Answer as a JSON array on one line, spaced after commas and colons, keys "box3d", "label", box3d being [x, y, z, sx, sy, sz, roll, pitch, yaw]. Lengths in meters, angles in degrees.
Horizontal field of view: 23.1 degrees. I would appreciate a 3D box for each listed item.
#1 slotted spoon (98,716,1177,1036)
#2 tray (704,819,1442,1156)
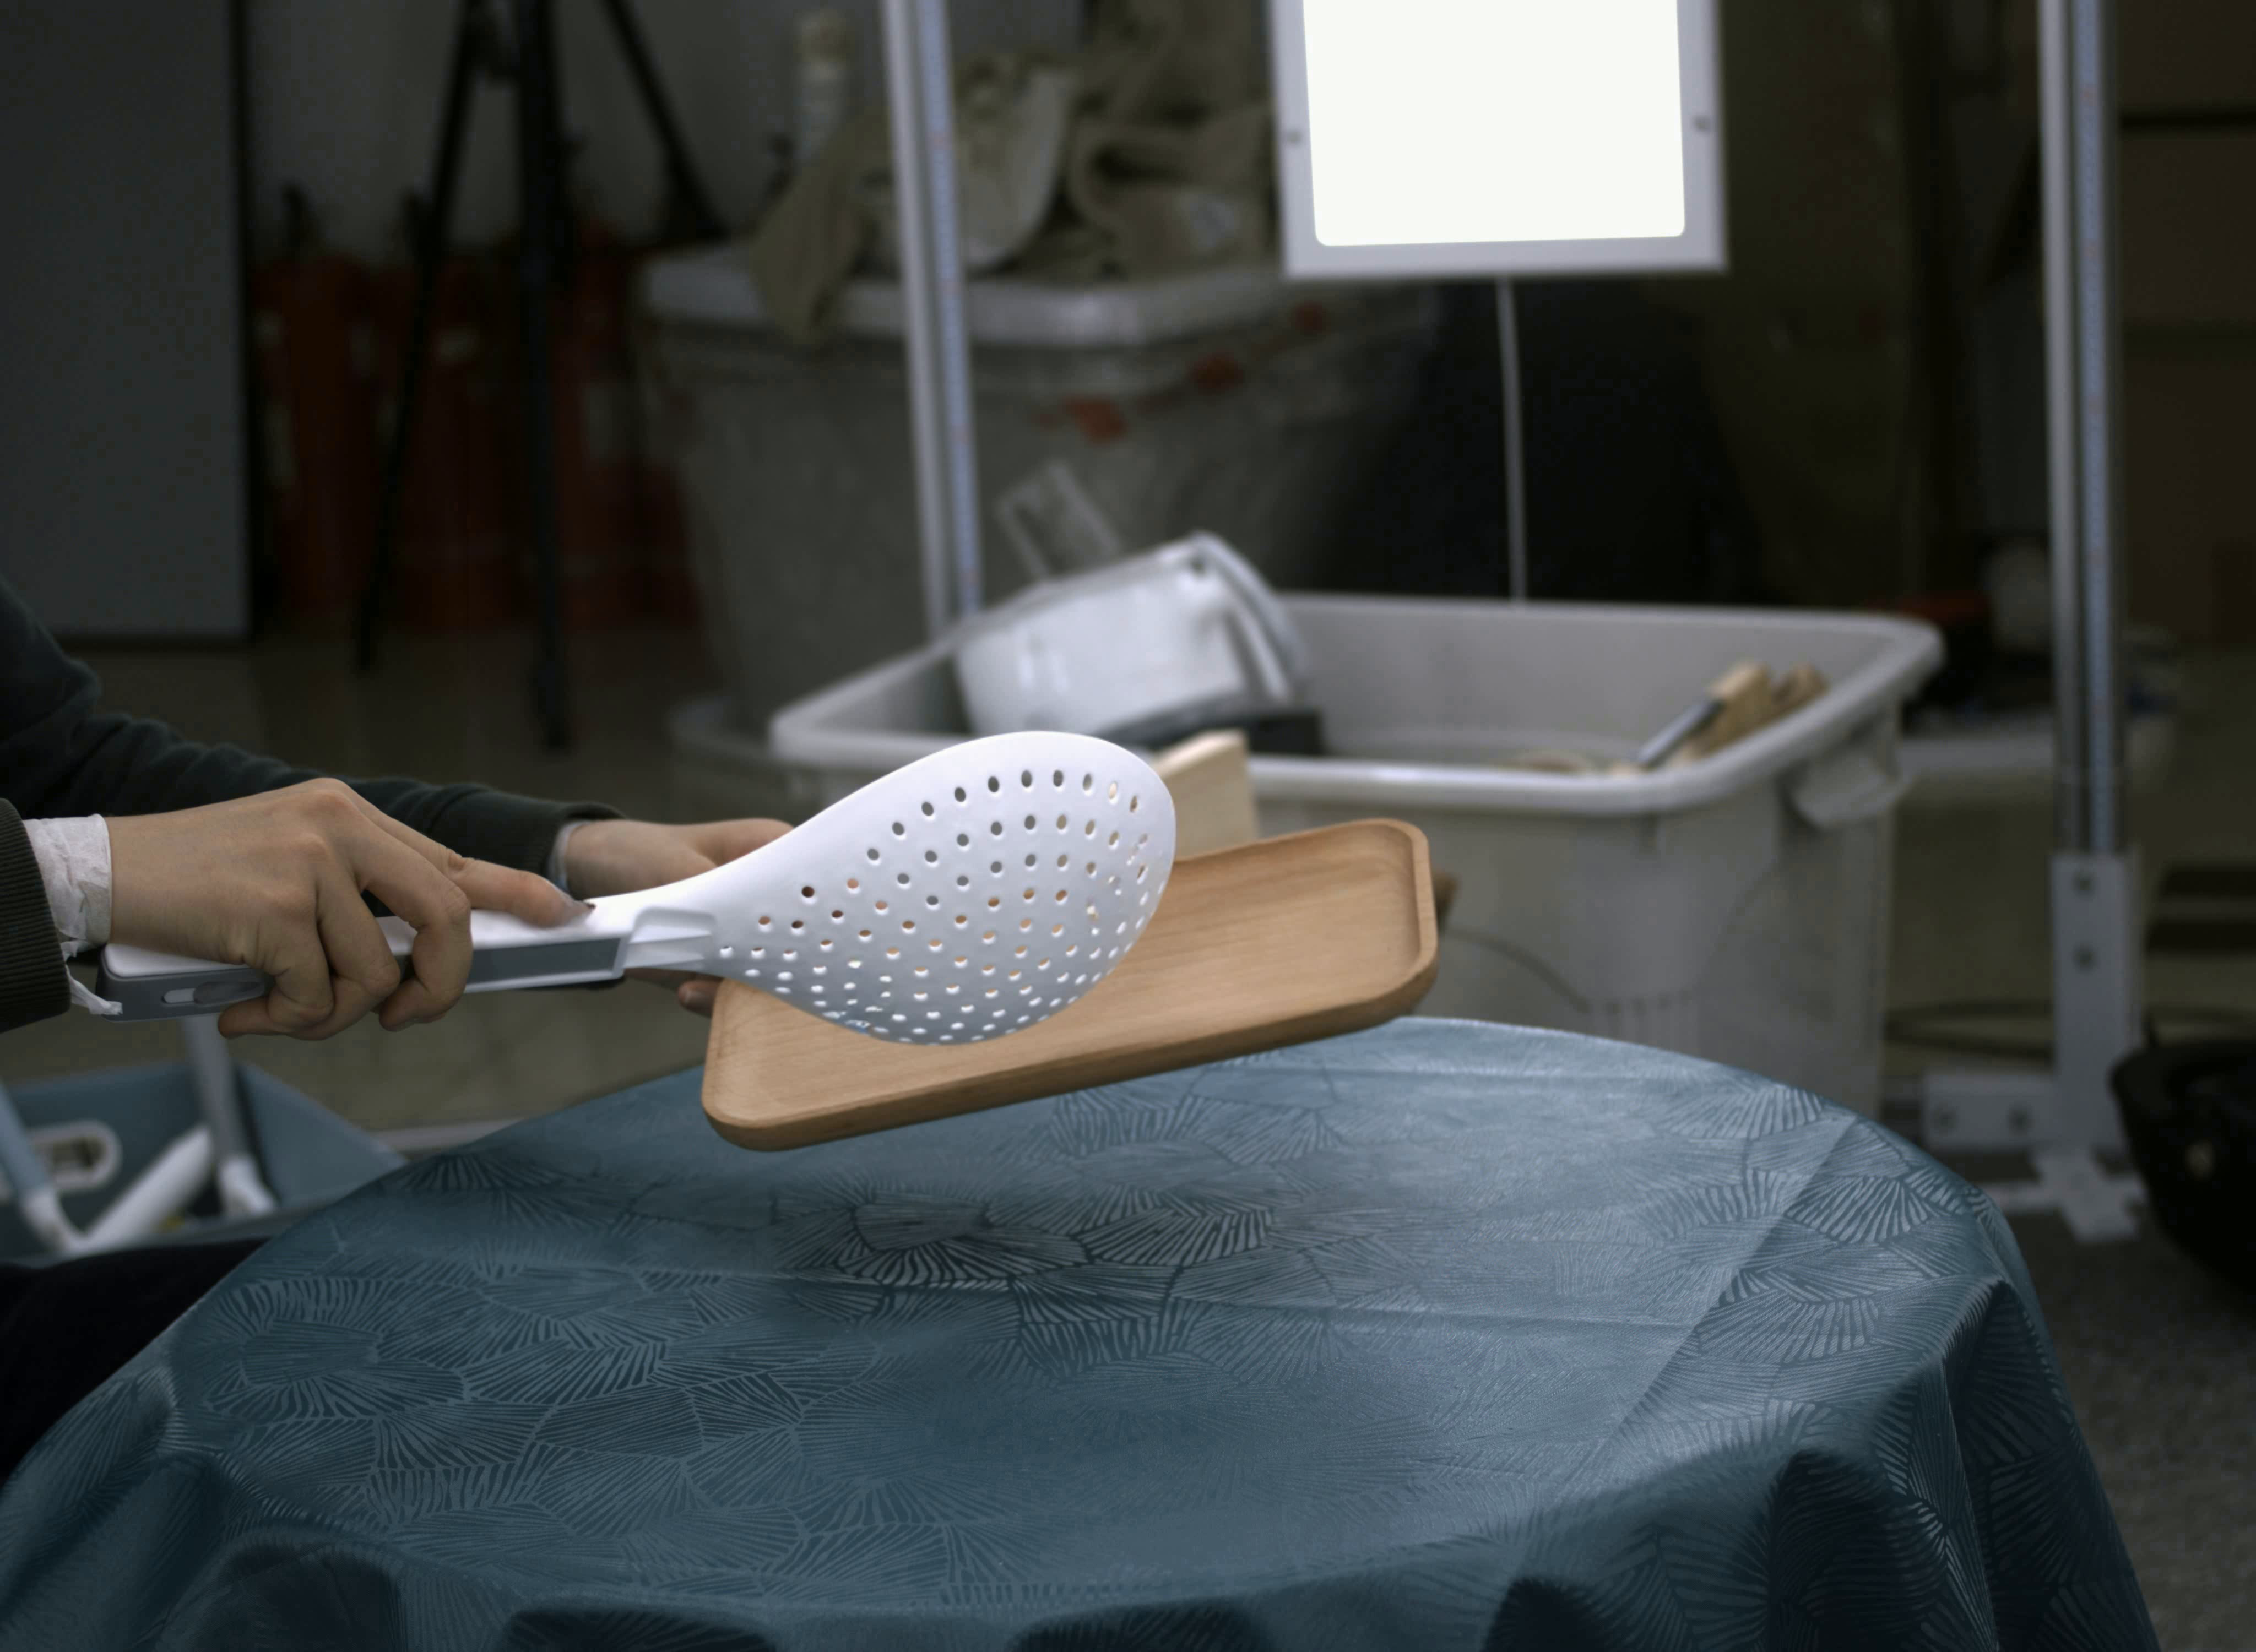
[{"box3d": [-0.144, 0.030, 1.701, 0.344, 0.137, 0.046, -2, 45, -18], "label": "slotted spoon"}, {"box3d": [-0.018, 0.054, 1.842, 0.252, 0.023, 0.130, -13, 25, 9], "label": "tray"}]
